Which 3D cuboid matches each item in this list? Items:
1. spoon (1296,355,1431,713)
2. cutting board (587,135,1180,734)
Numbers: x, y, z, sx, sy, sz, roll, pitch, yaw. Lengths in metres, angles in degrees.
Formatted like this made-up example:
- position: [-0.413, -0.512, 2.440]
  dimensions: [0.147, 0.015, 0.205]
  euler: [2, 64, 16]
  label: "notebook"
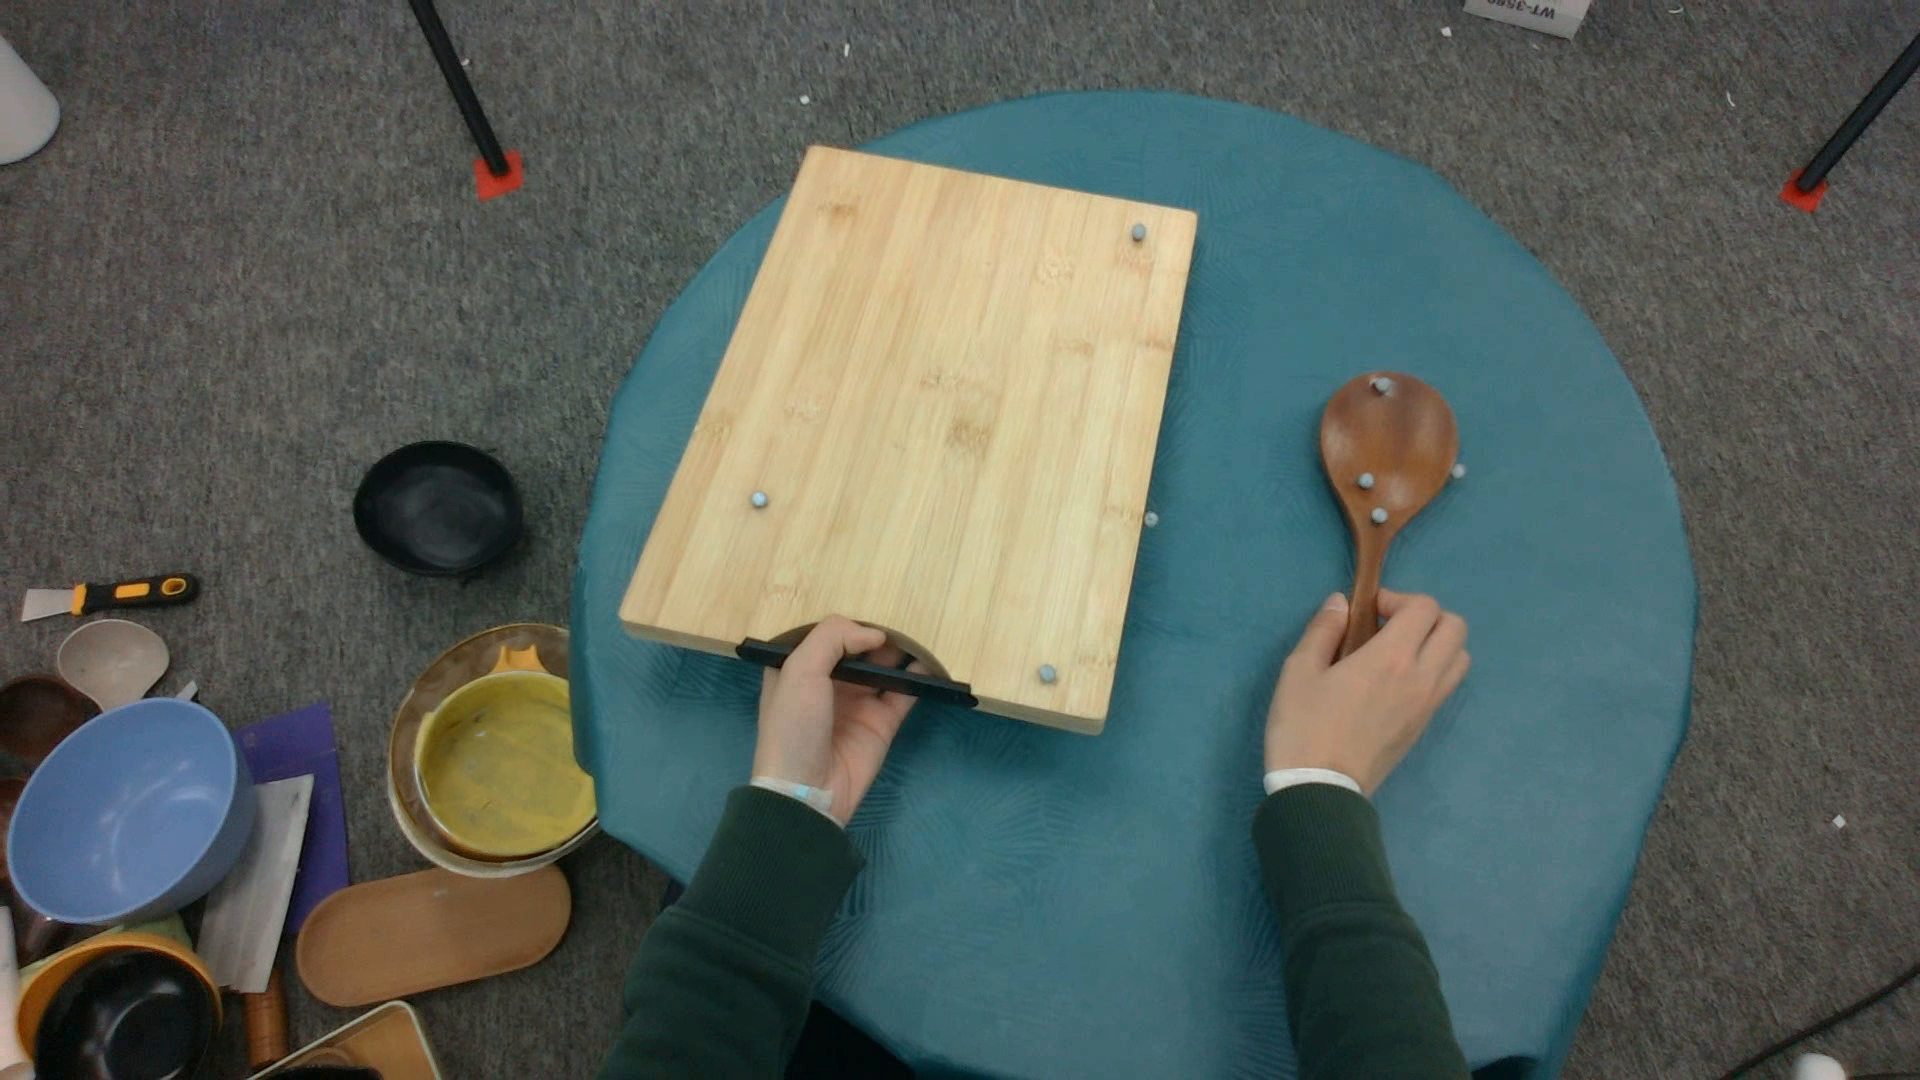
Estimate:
- position: [0.209, -0.008, 0.736]
  dimensions: [0.075, 0.017, 0.217]
  euler: [13, 63, 4]
  label: "spoon"
- position: [-0.024, -0.076, 0.744]
  dimensions: [0.250, 0.023, 0.350]
  euler: [10, 58, 5]
  label: "cutting board"
